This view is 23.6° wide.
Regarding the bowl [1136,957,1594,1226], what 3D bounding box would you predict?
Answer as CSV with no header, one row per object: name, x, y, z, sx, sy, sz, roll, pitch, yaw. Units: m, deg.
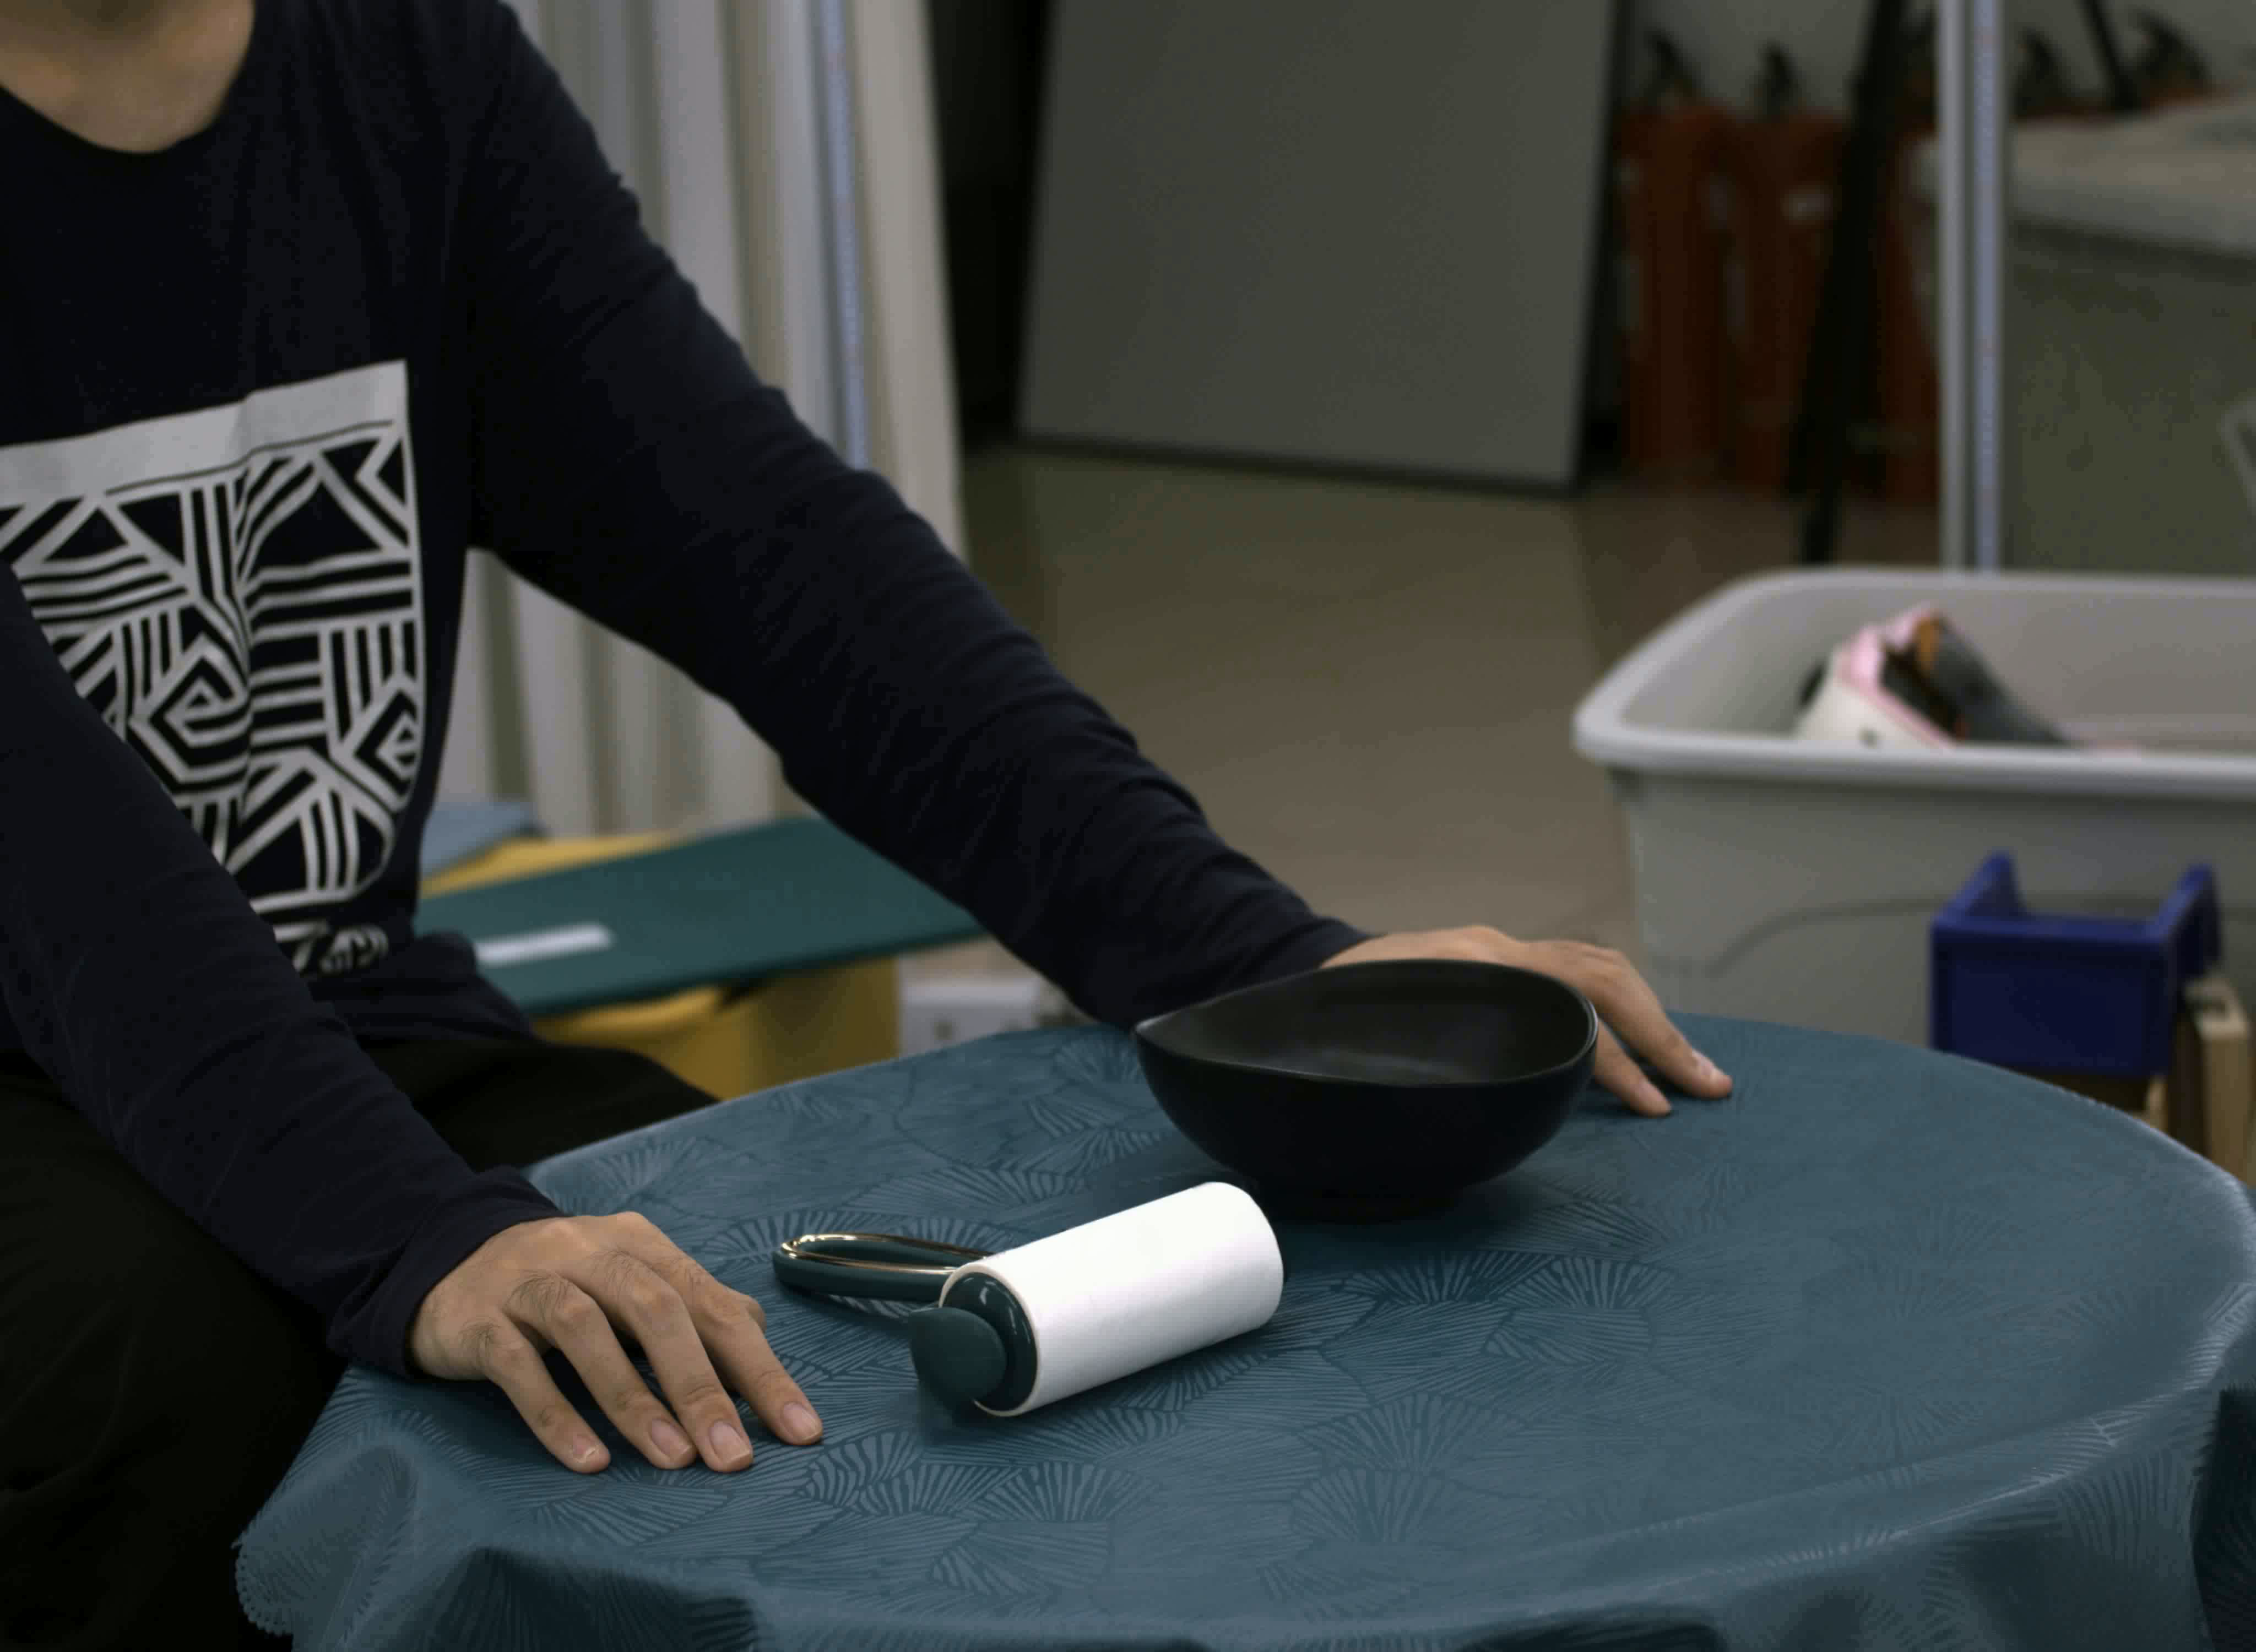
bowl,0.076,0.089,1.747,0.134,0.067,0.172,-15,16,-40

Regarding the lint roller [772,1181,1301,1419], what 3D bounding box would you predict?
lint roller,-0.050,0.135,1.648,0.131,0.049,0.182,-15,14,-40
